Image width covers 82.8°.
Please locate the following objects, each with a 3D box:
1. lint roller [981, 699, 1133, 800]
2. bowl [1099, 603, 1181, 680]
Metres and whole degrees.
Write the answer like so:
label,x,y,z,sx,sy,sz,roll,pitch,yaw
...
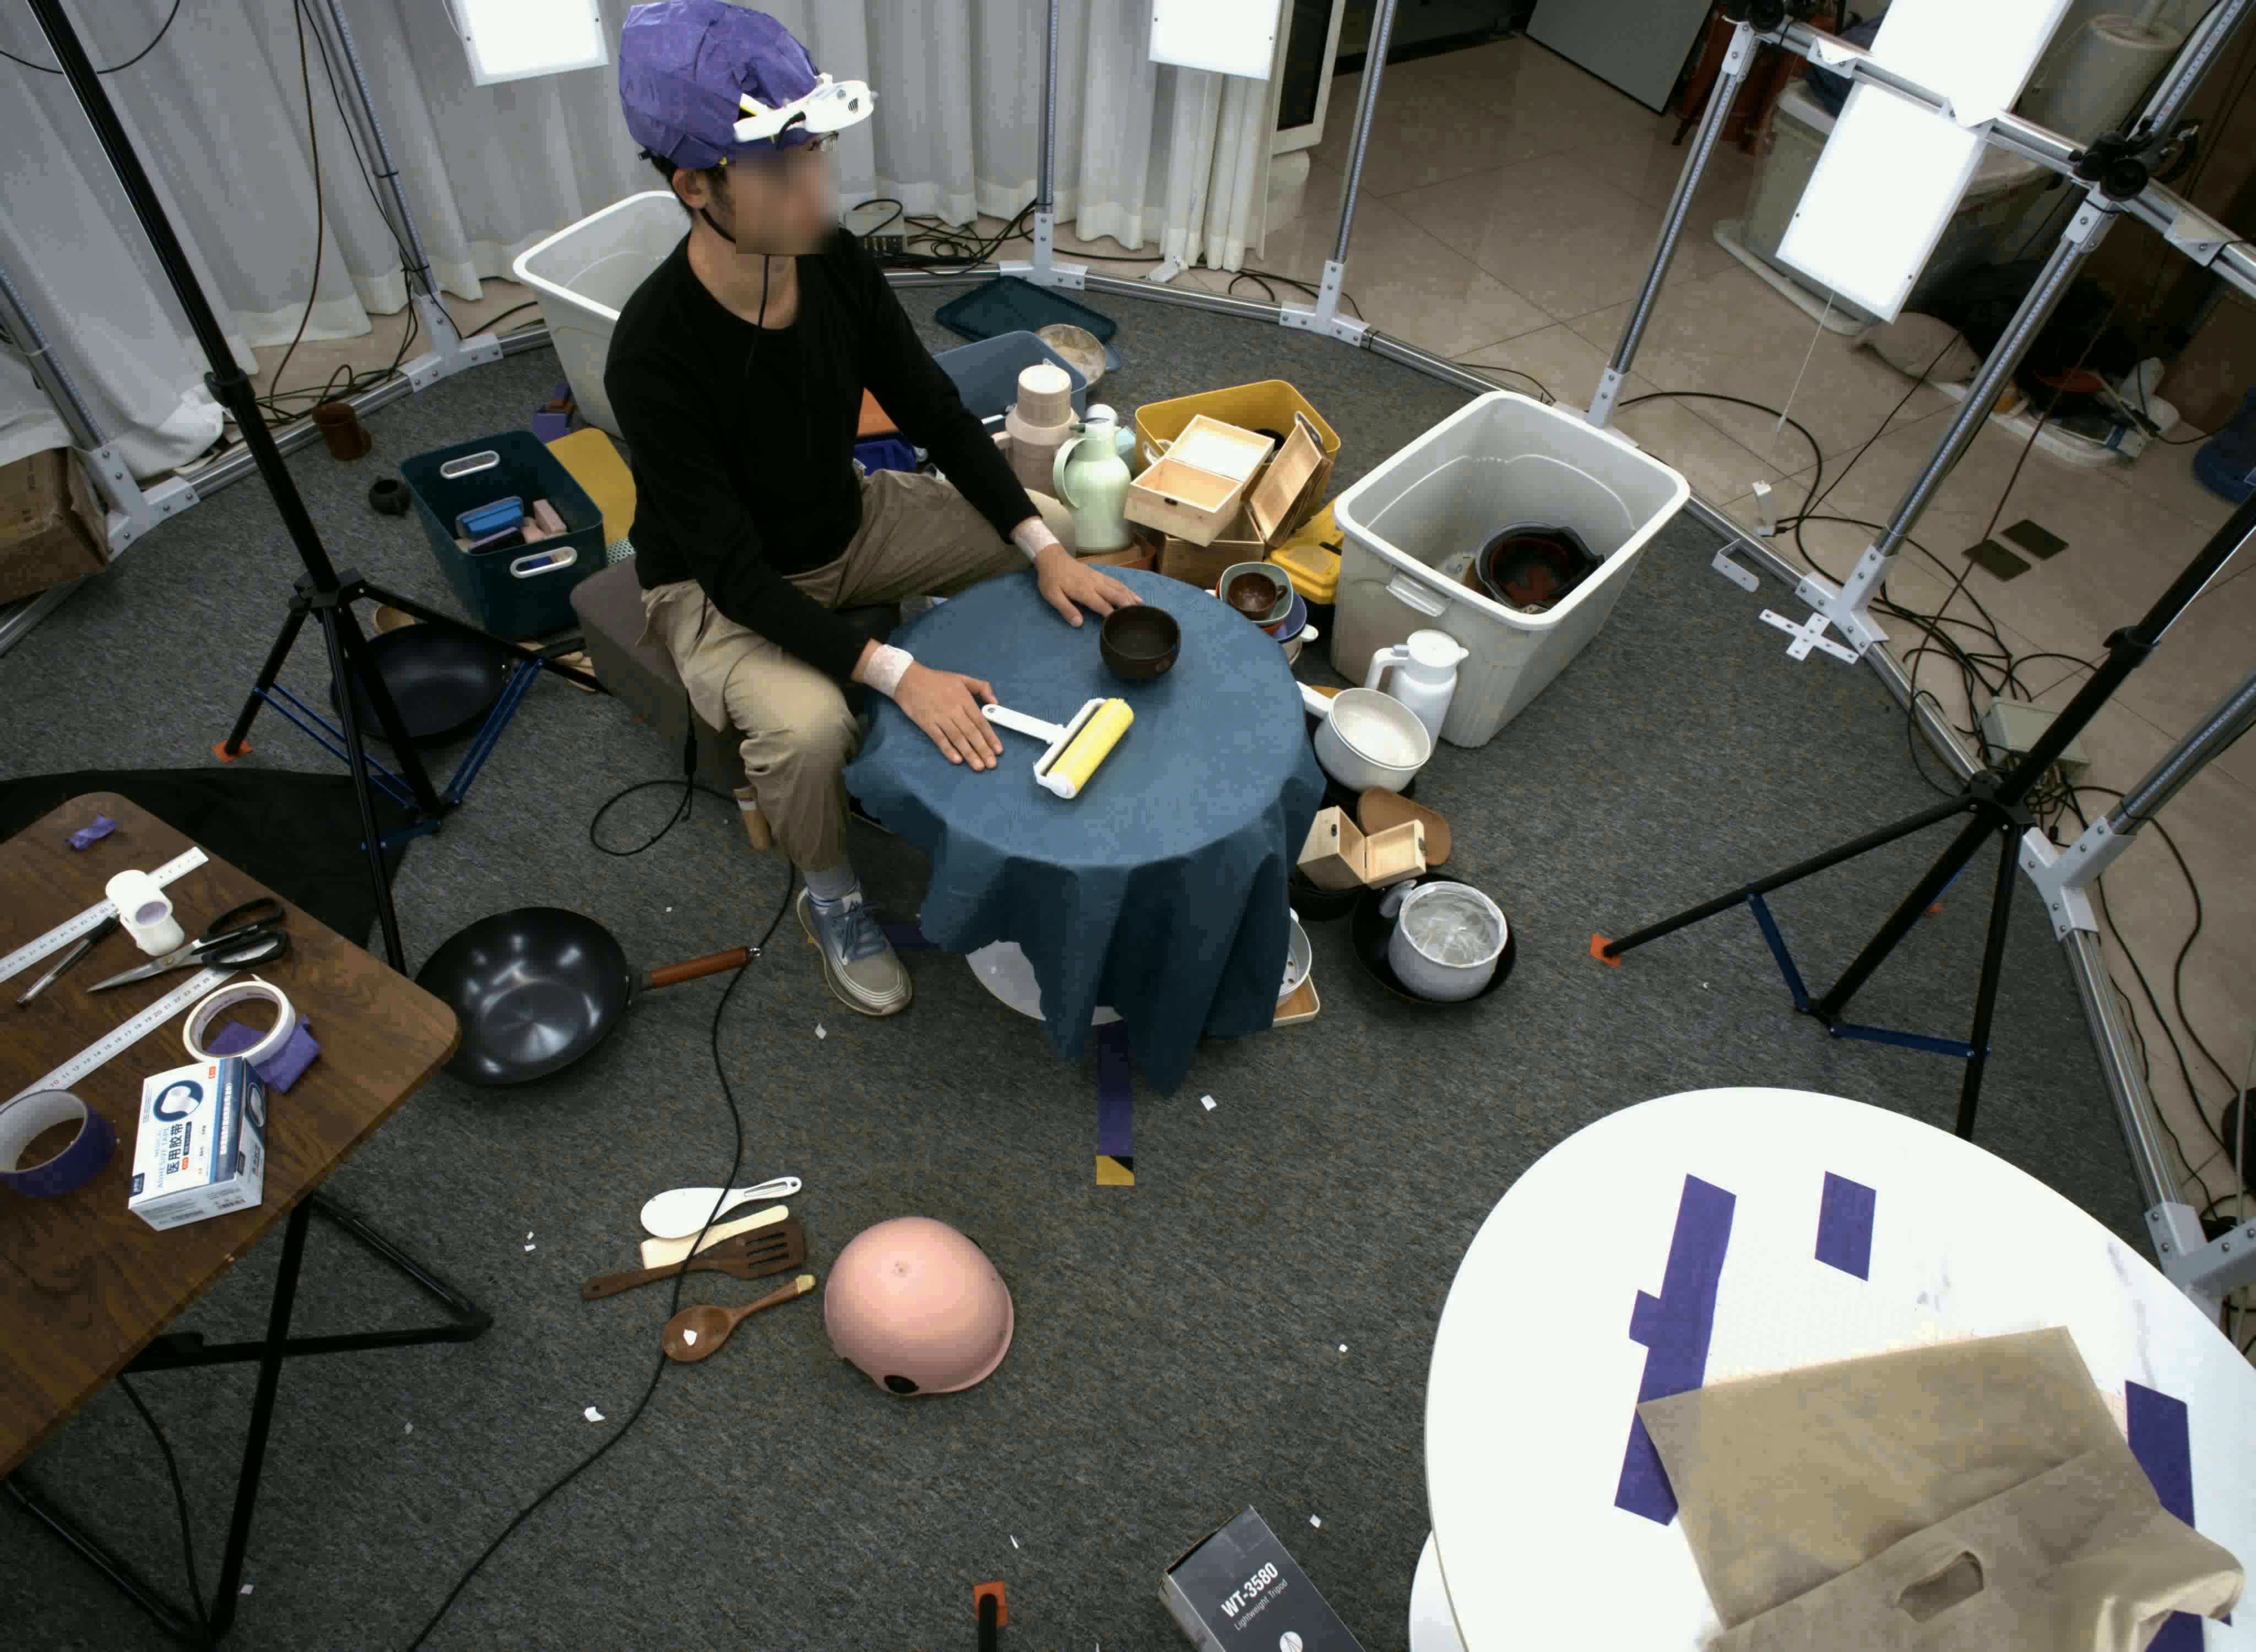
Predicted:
label,x,y,z,sx,sy,sz,roll,pitch,yaw
lint roller,-0.114,-0.134,1.745,0.193,0.050,0.177,26,52,12
bowl,0.016,-0.257,1.845,0.118,0.068,0.121,3,49,-3
